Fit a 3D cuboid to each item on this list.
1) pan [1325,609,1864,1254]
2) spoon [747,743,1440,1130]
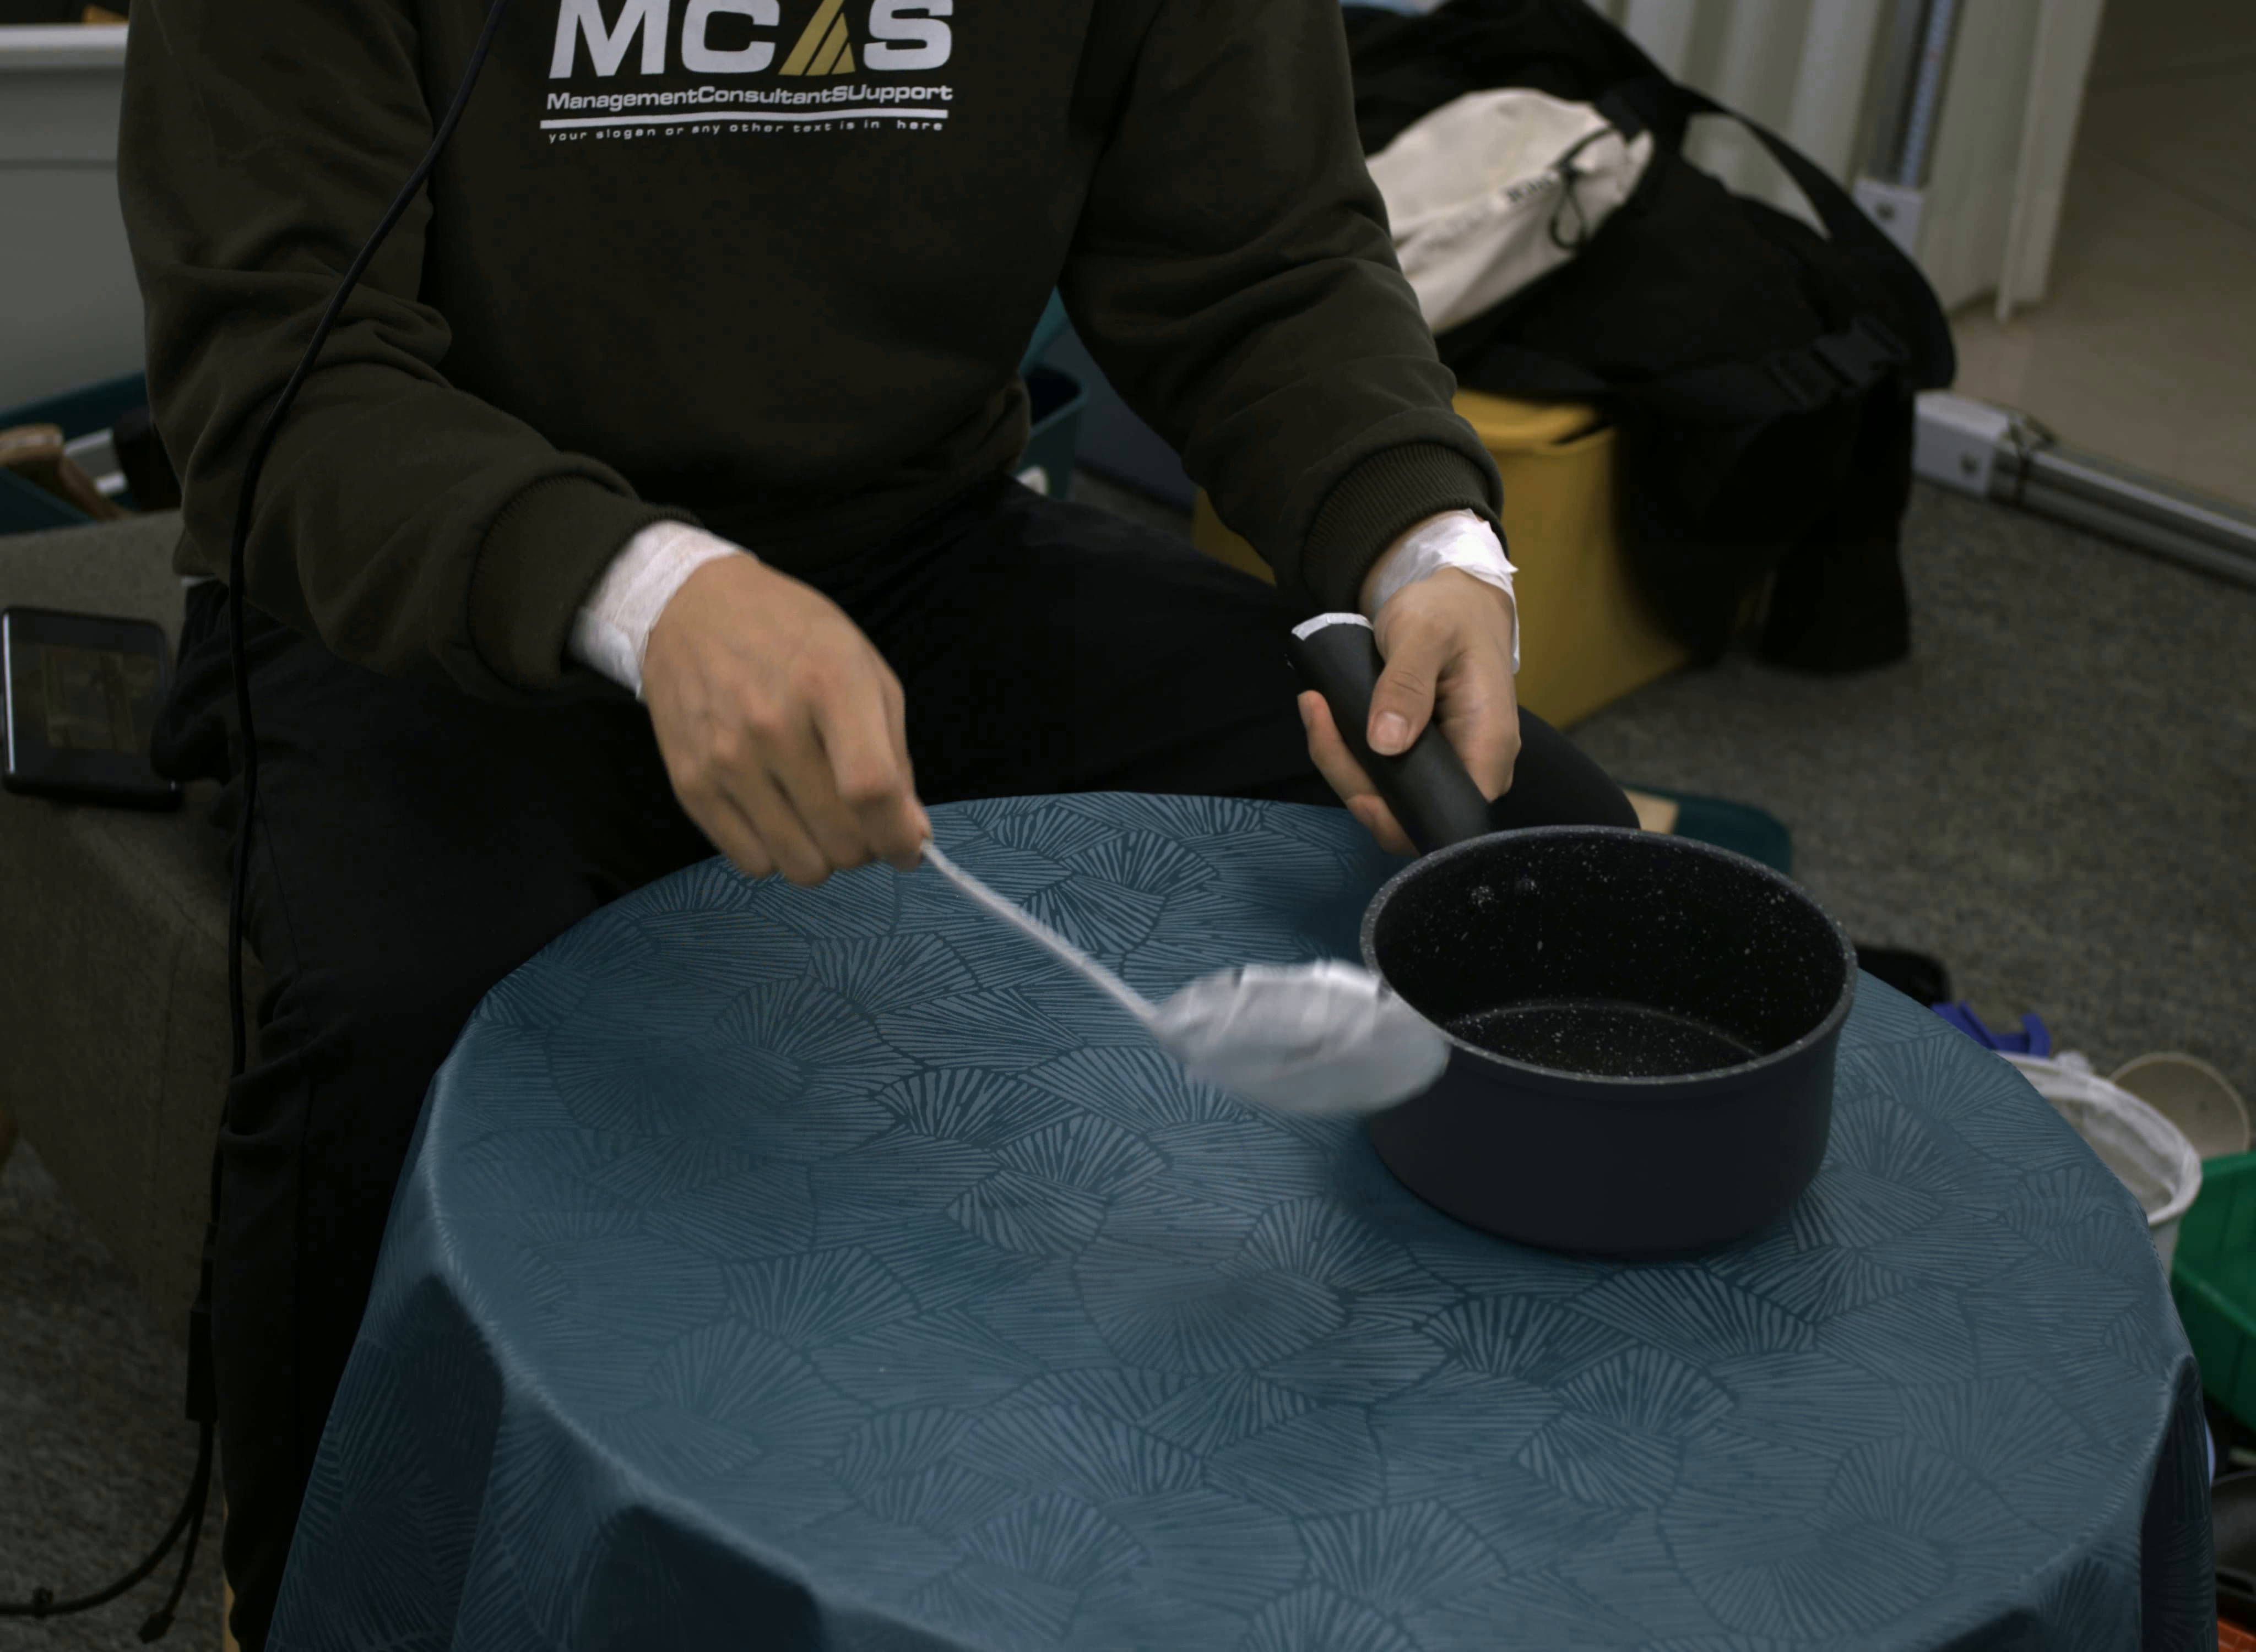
[{"bbox_3d":[0.139,0.034,1.907,0.171,0.086,0.332,-7,31,-18],"label":"pan"},{"bbox_3d":[-0.015,0.026,1.780,0.279,0.100,0.059,35,71,32],"label":"spoon"}]
